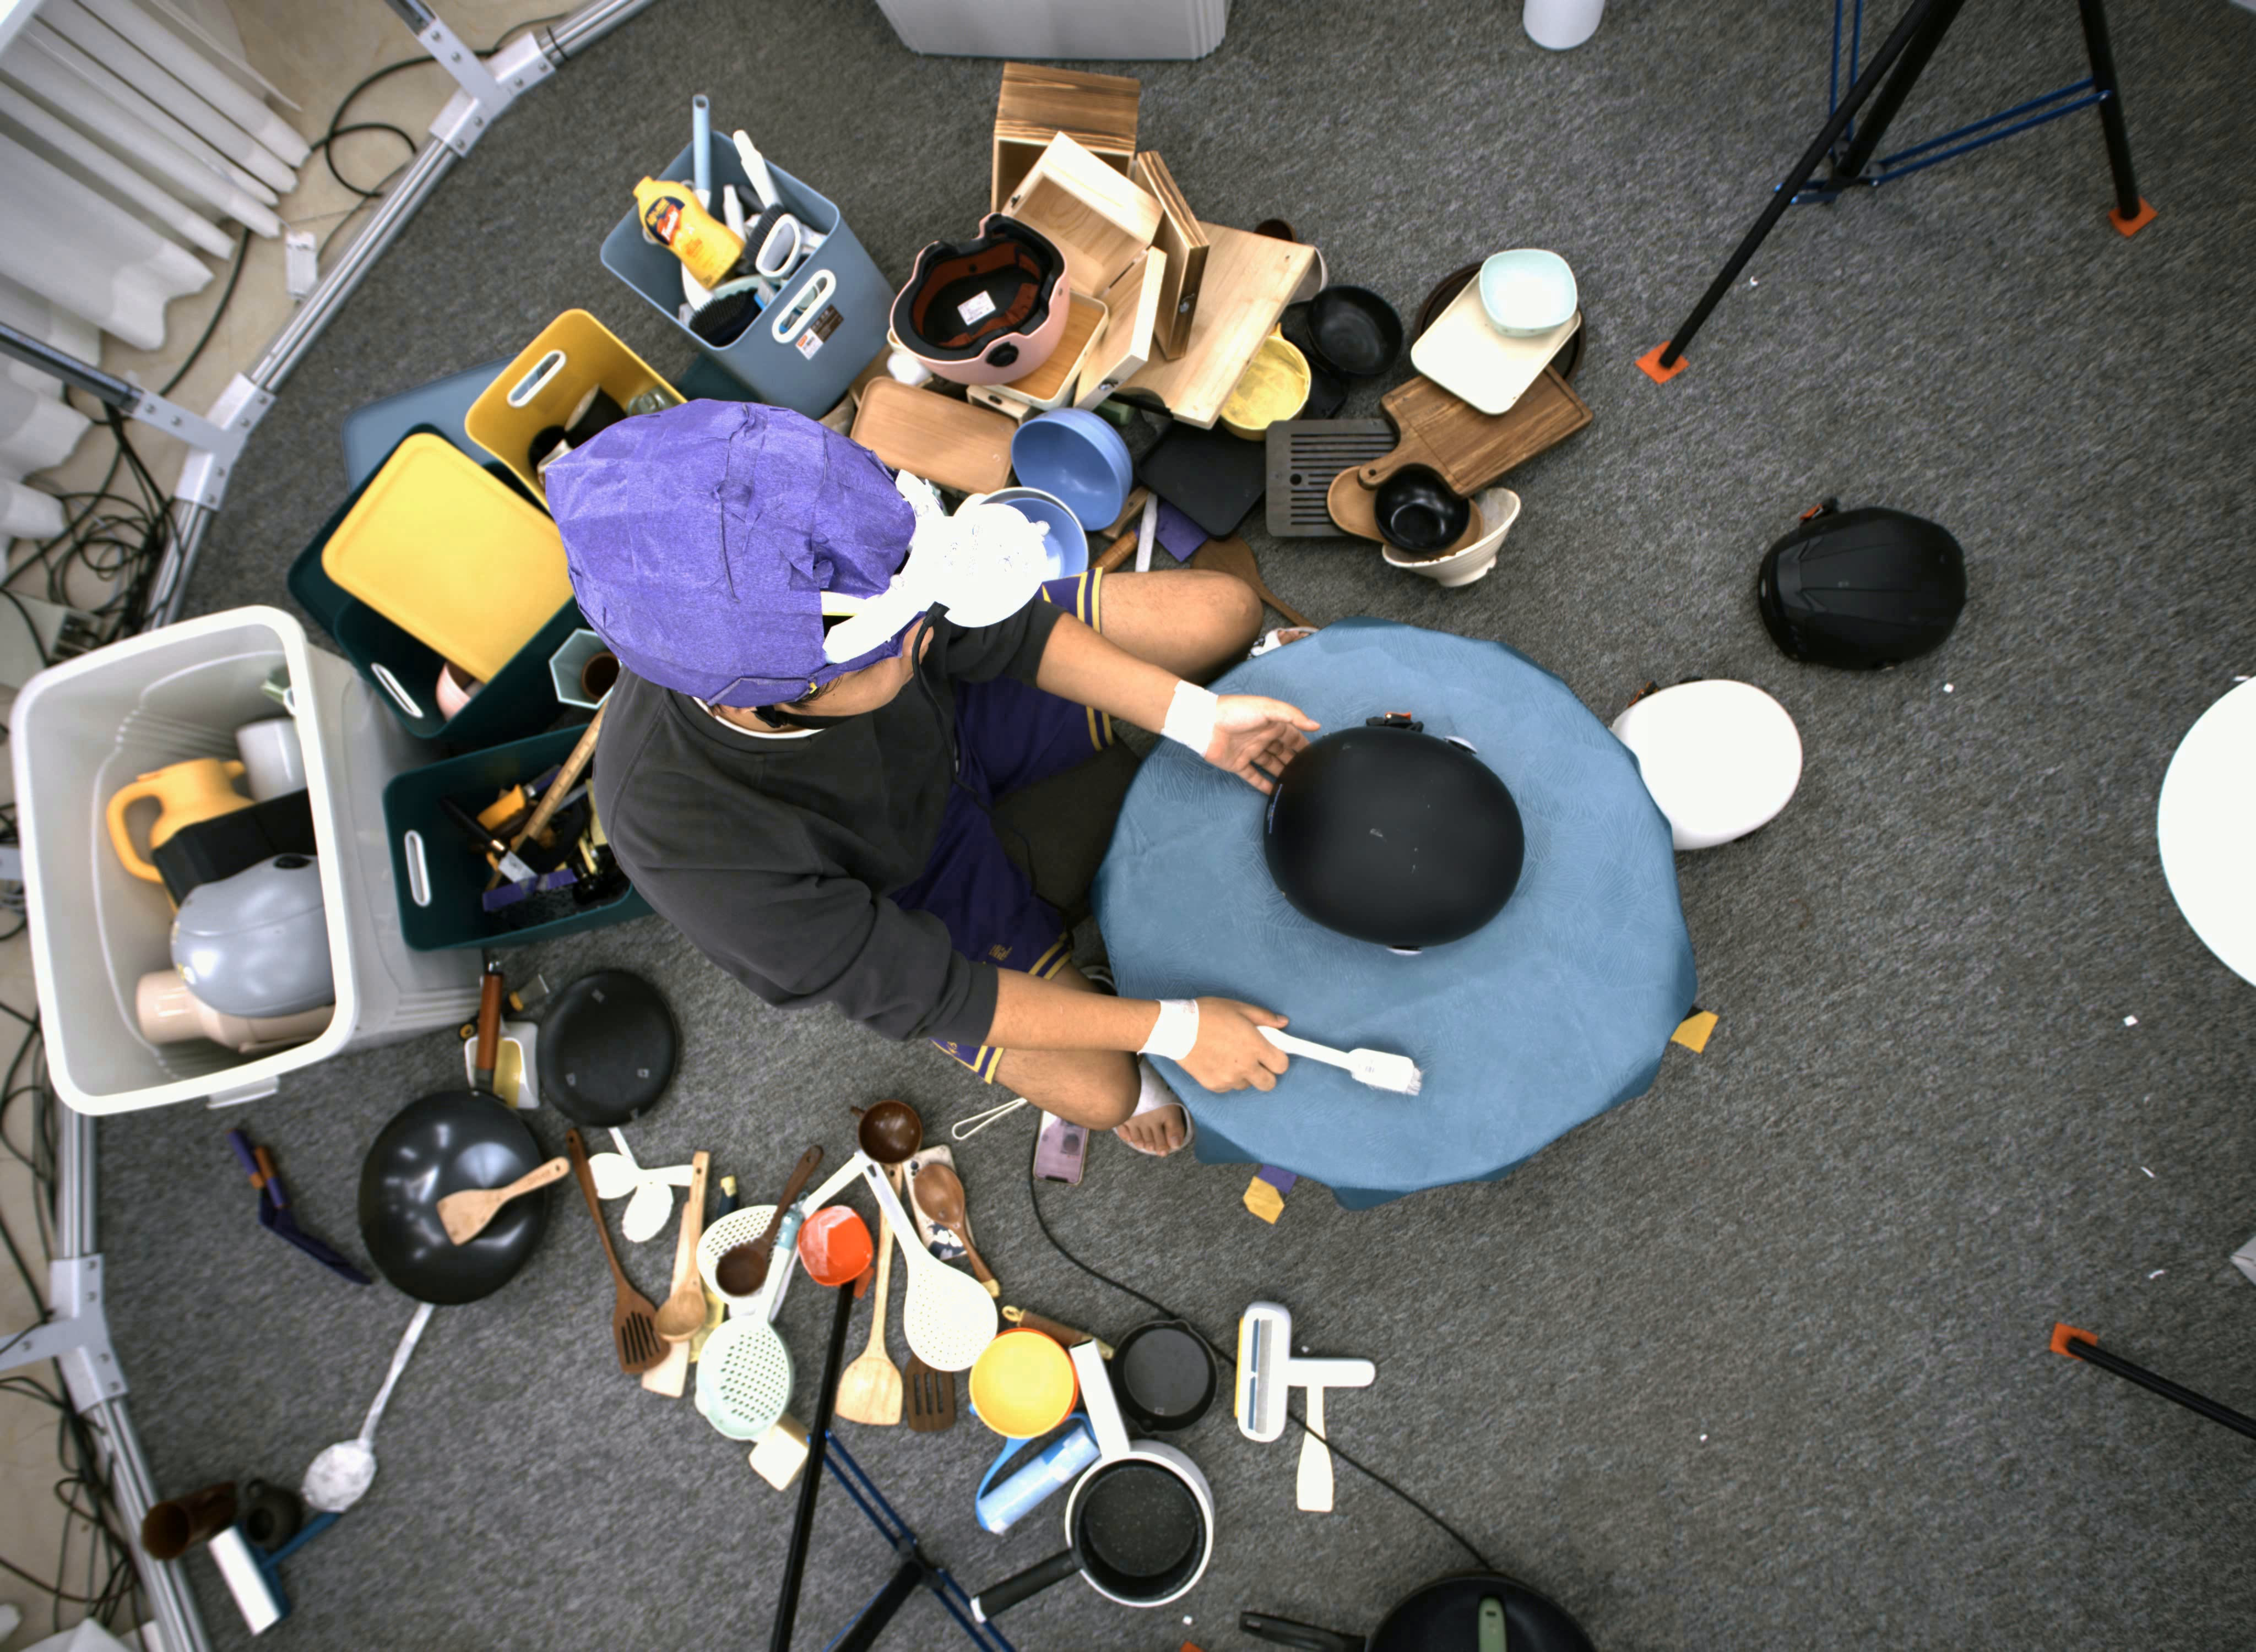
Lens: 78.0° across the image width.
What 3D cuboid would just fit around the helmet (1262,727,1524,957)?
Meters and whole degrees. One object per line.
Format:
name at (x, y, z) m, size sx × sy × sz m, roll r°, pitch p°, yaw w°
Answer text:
helmet at (0.268, 0.011, 1.383) m, size 0.273 × 0.166 × 0.230 m, roll 18°, pitch 93°, yaw 9°

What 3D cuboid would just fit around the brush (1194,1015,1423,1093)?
brush at (0.187, 0.236, 1.454) m, size 0.244 × 0.051 × 0.034 m, roll 10°, pitch 73°, yaw 23°
